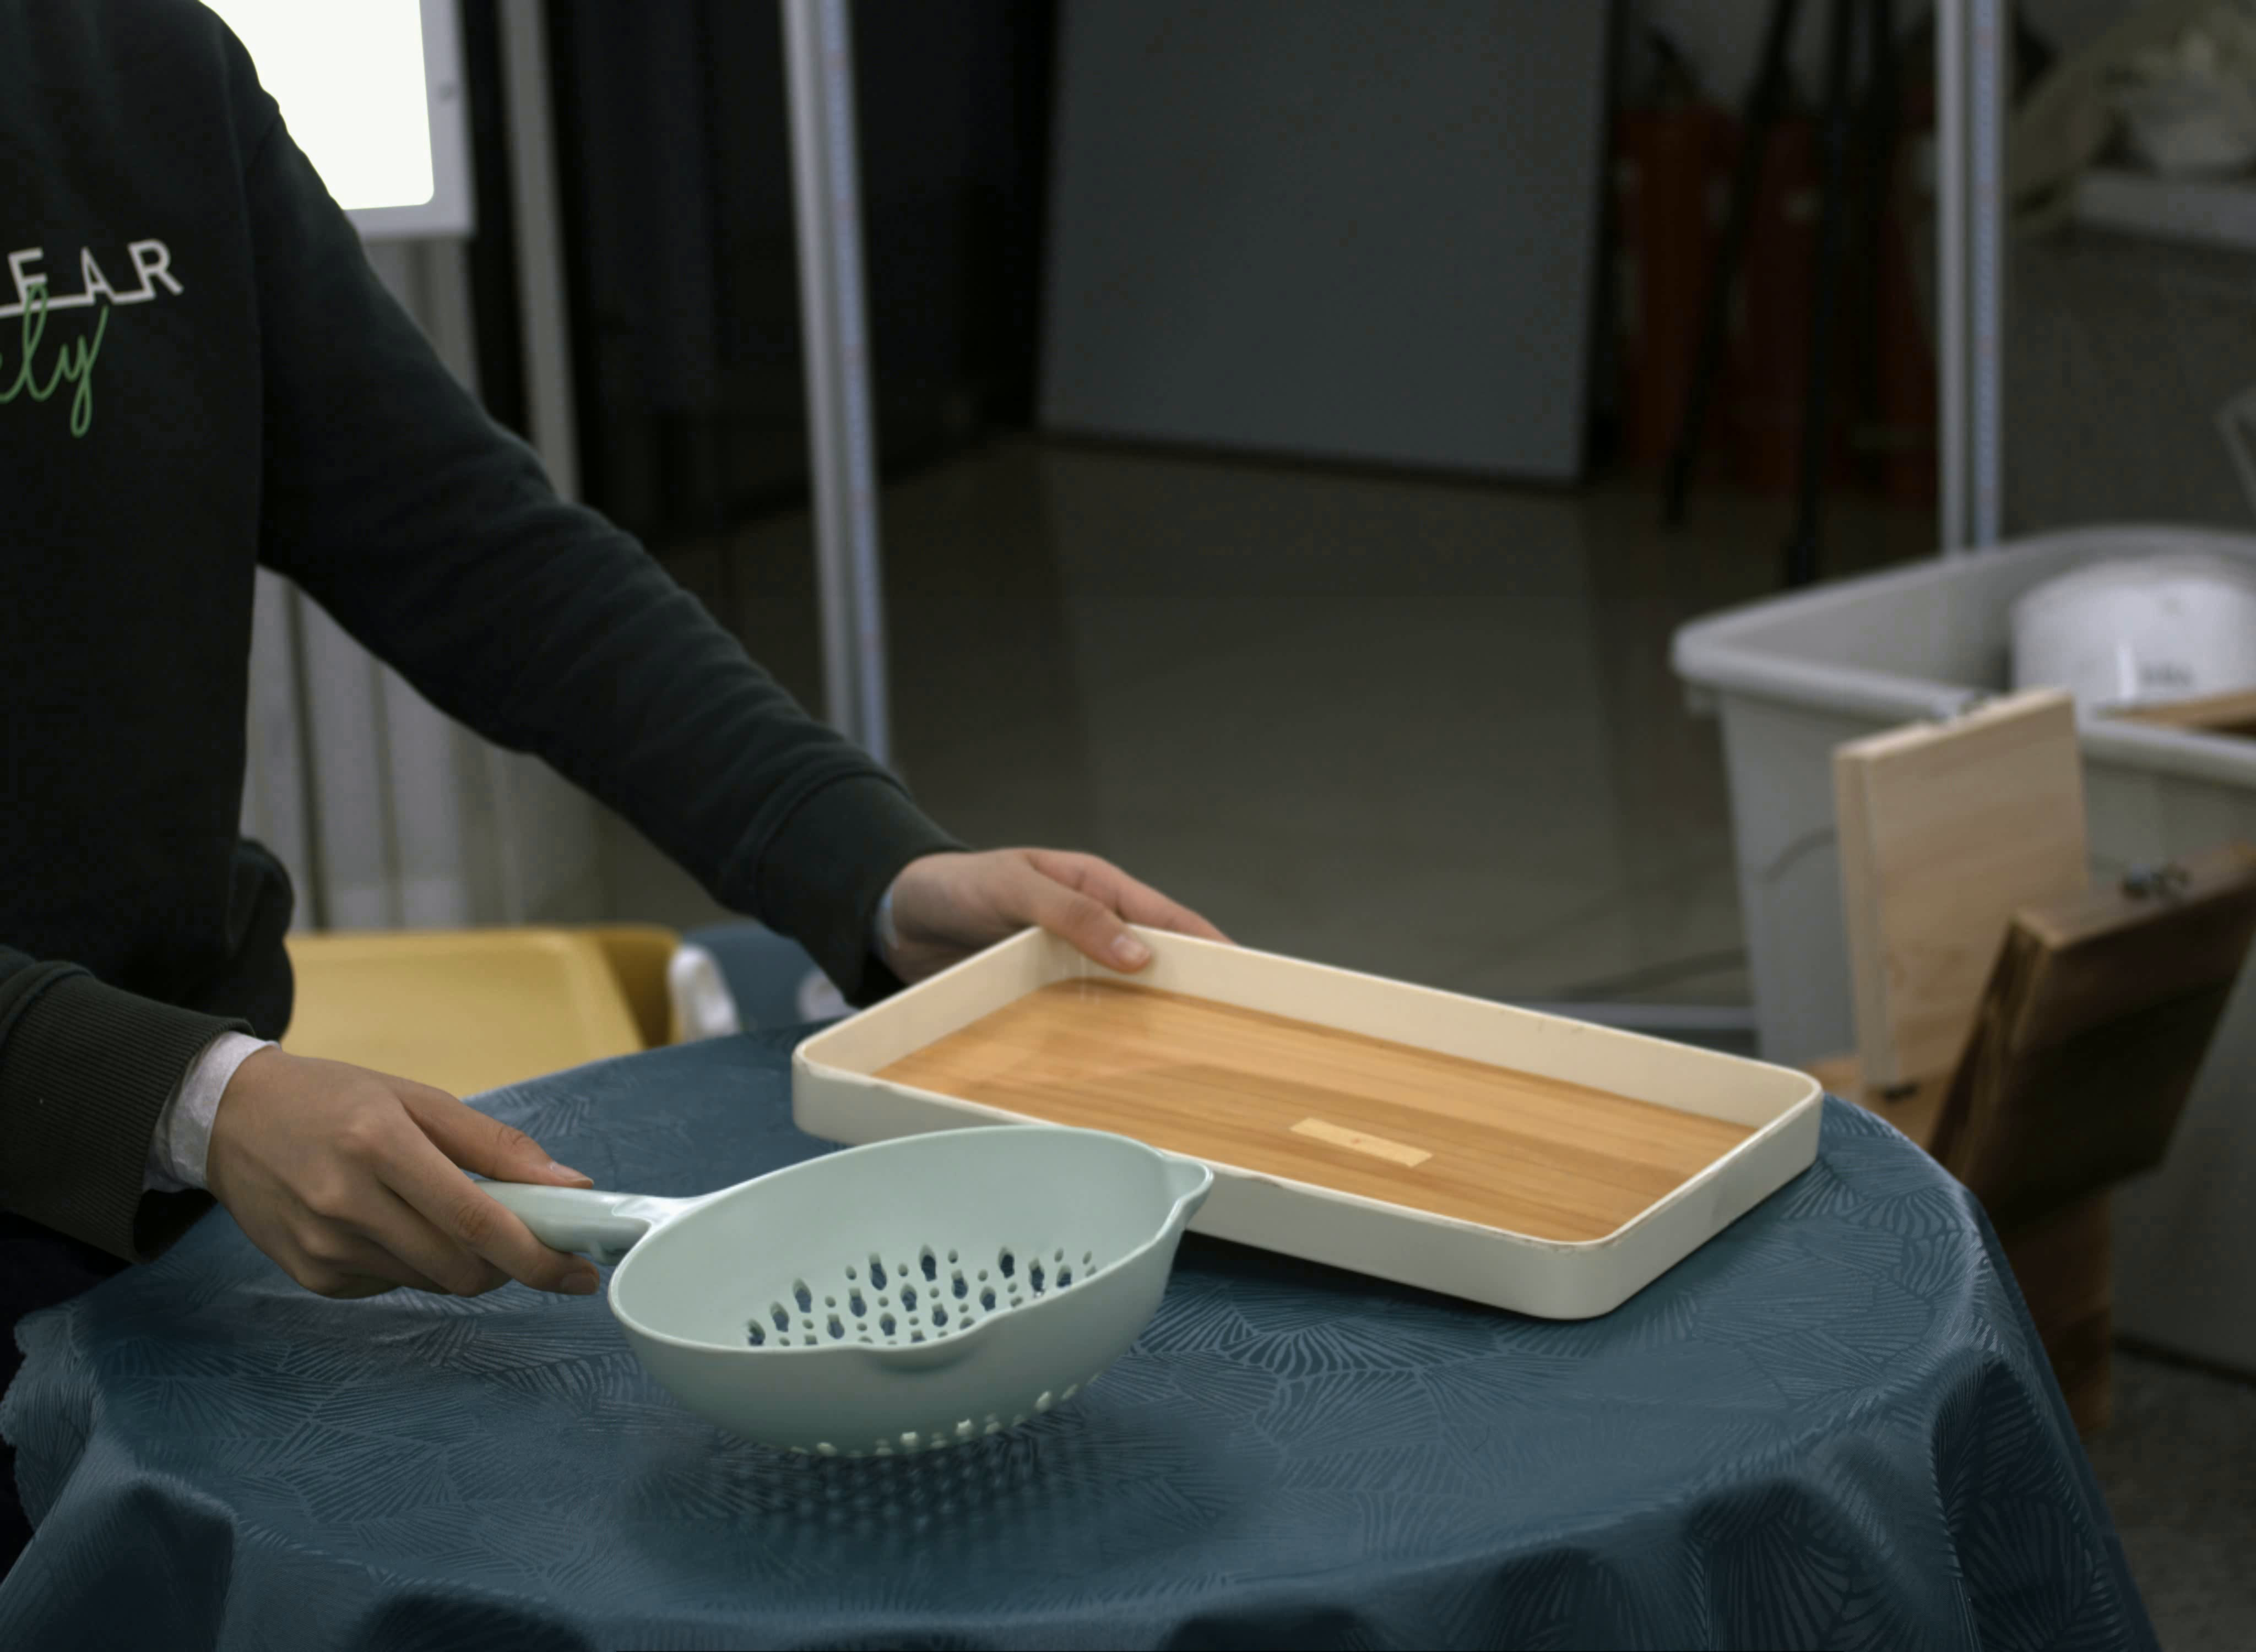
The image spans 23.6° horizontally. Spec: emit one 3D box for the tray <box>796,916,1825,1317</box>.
[{"bbox_3d":[0.059,0.091,1.755,0.301,0.028,0.188,12,20,30],"label":"tray"}]

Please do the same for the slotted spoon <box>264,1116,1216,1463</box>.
[{"bbox_3d":[-0.137,0.124,1.605,0.361,0.076,0.166,12,26,38],"label":"slotted spoon"}]
